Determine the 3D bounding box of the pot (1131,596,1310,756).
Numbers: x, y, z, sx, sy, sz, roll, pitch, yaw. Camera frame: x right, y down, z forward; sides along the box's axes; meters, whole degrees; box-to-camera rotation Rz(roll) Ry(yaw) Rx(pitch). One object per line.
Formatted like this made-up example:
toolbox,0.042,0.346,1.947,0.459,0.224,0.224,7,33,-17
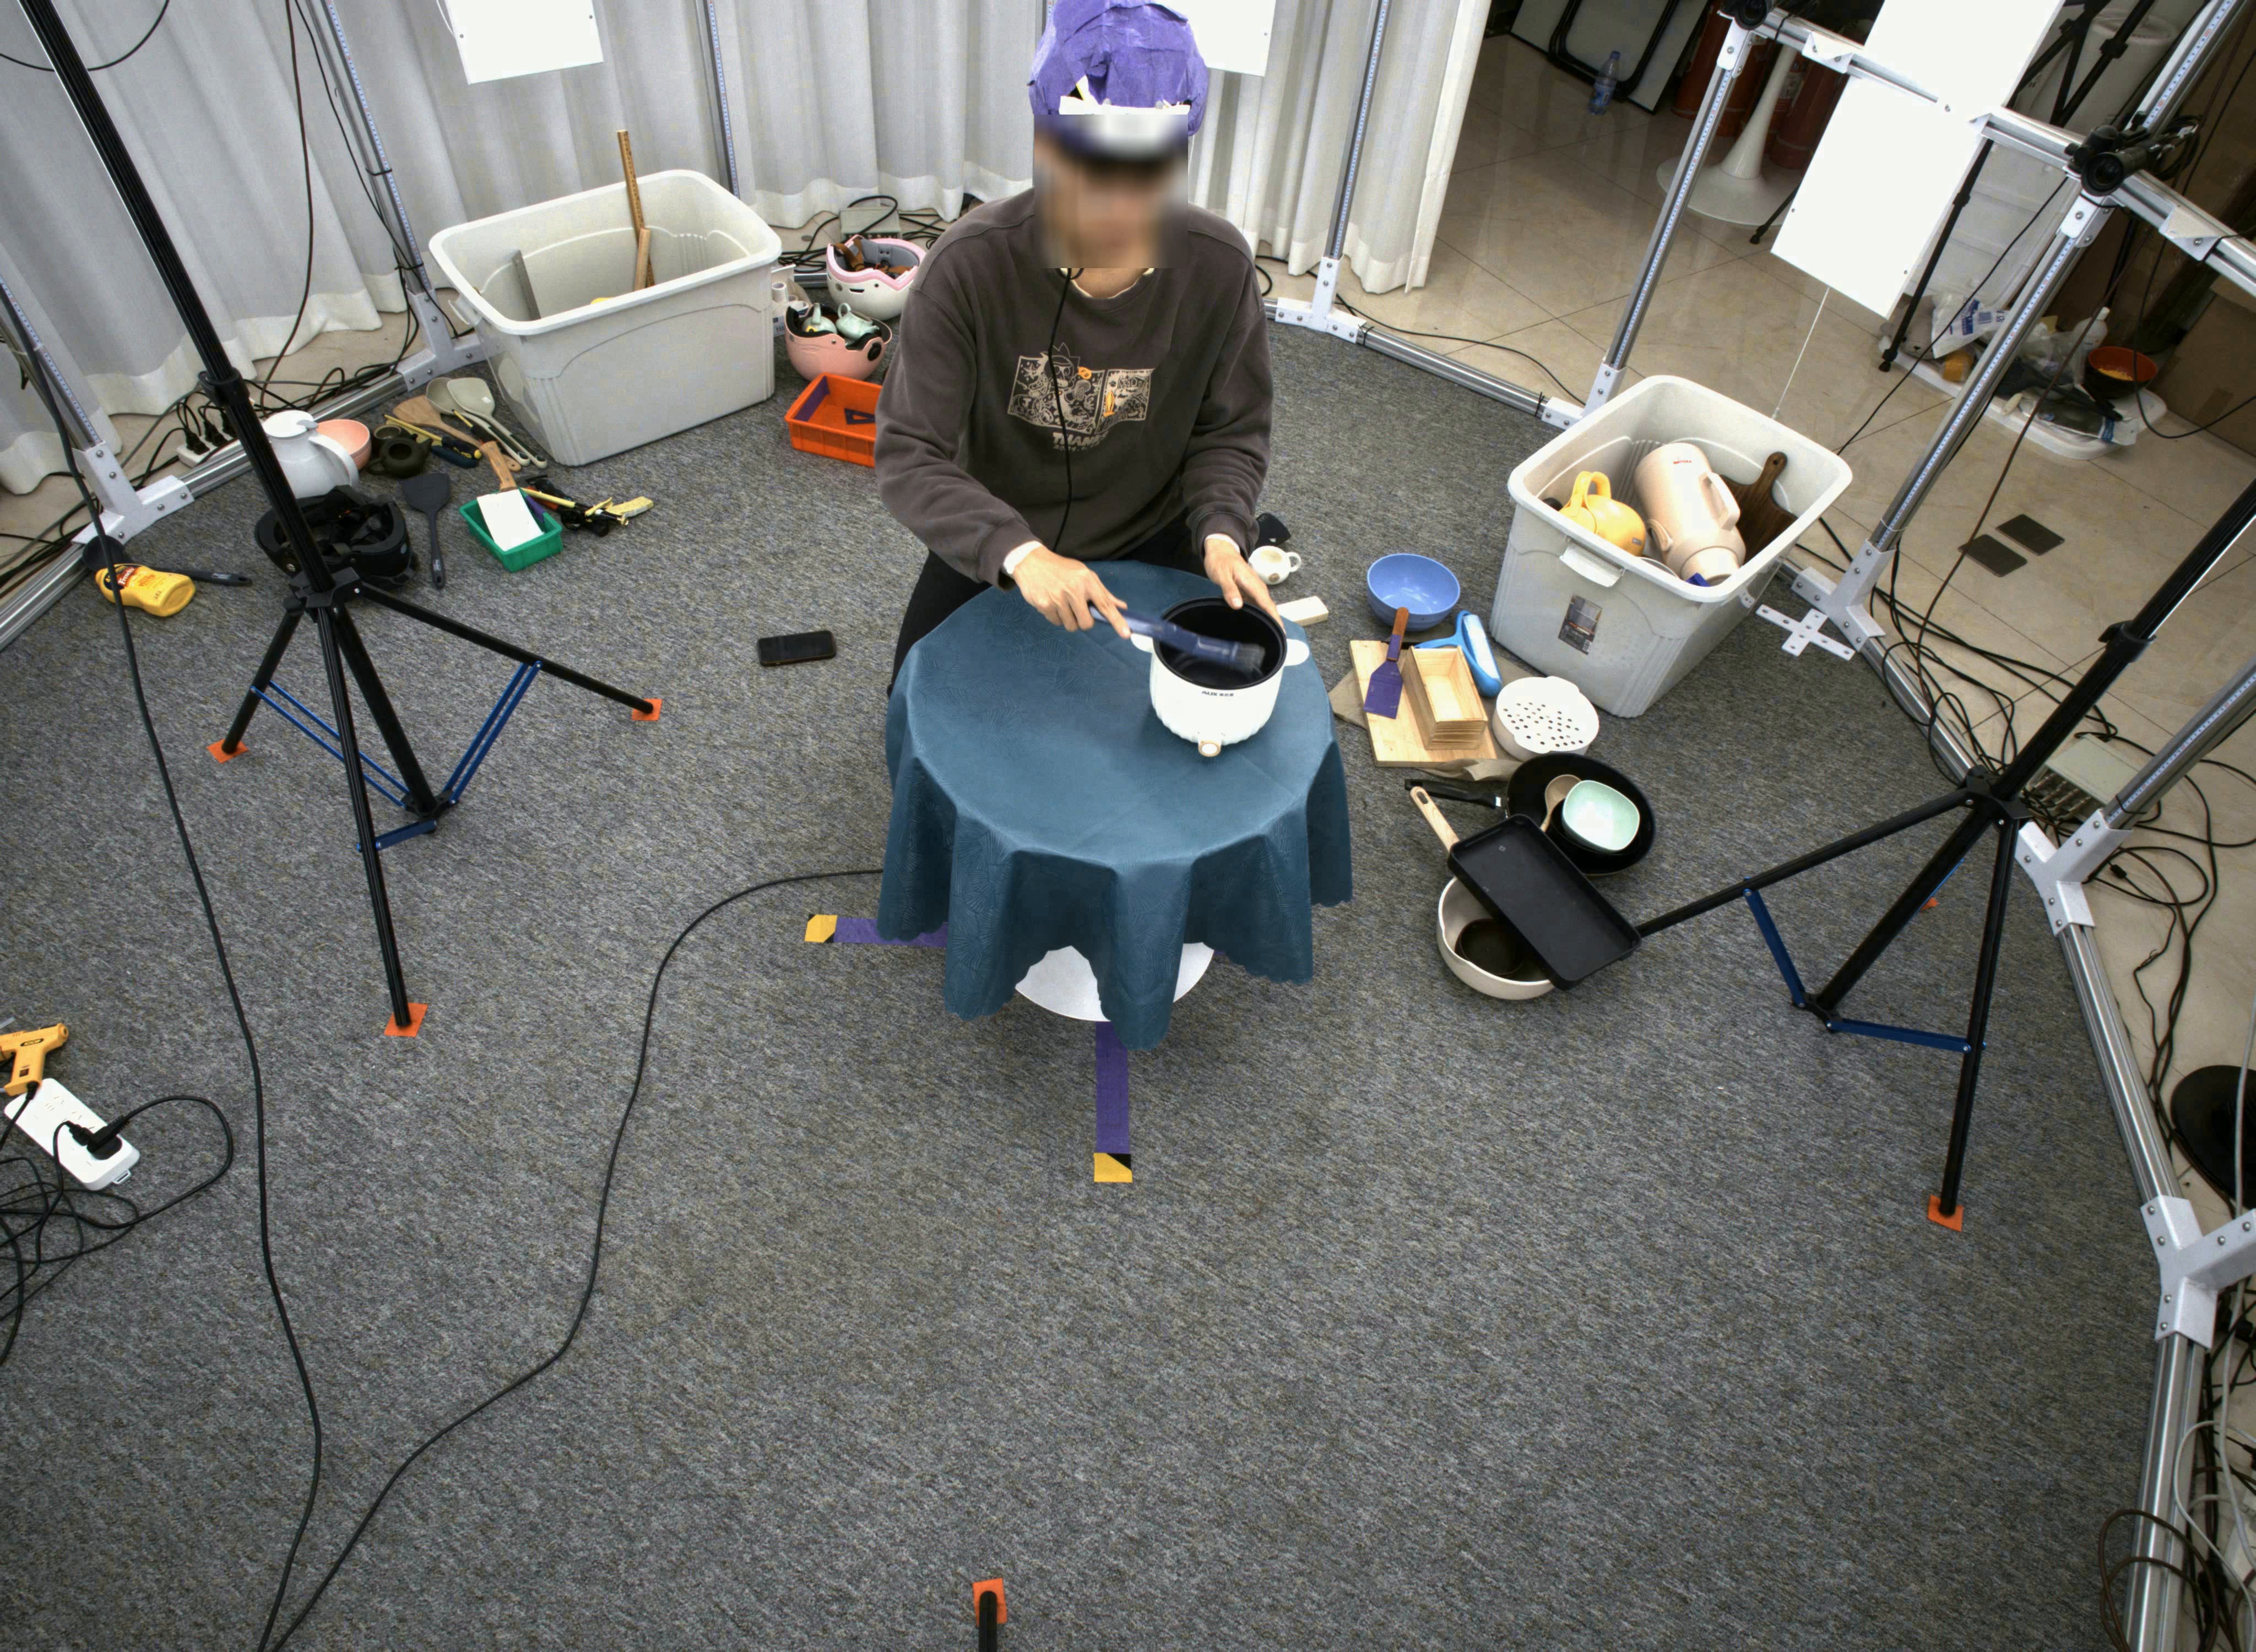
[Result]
pot,0.121,-0.202,1.759,0.240,0.139,0.195,4,46,1

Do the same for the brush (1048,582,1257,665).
brush,0.029,-0.258,1.624,0.273,0.095,0.034,19,84,3
